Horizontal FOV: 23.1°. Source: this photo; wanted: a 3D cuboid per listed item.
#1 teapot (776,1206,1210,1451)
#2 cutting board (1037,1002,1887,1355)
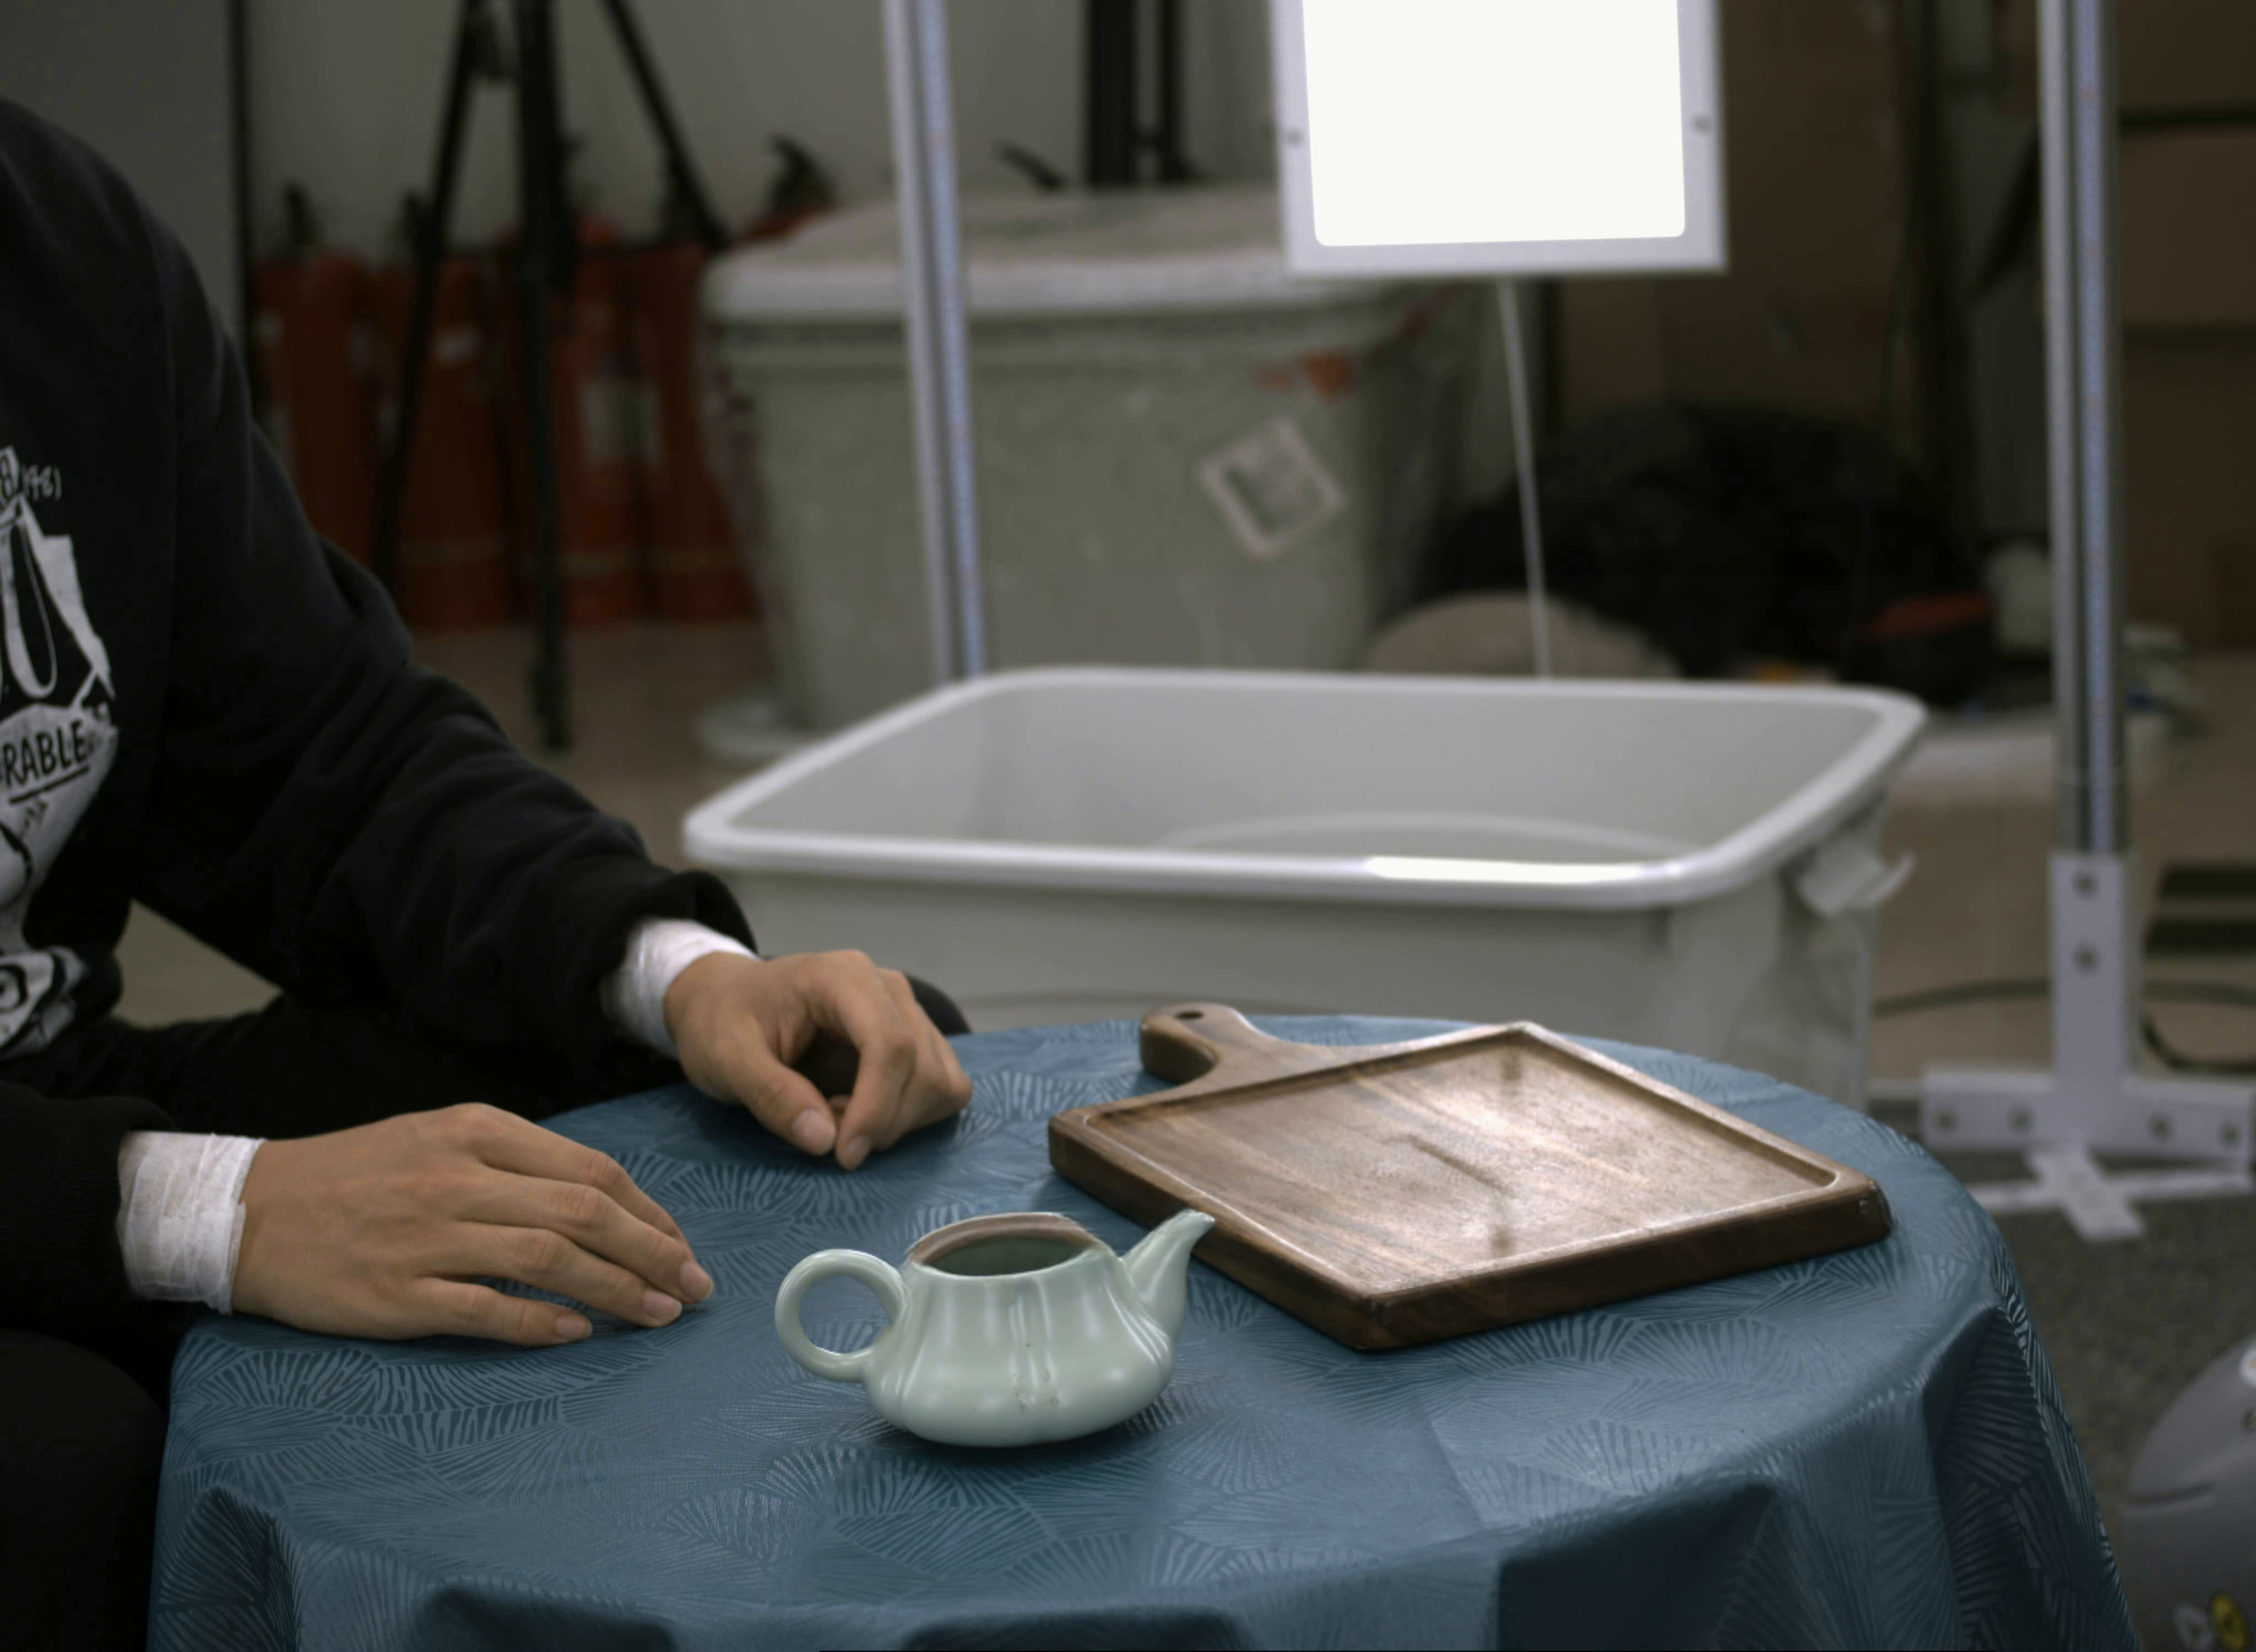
[{"bbox_3d":[-0.039,0.153,1.679,0.135,0.061,0.097,-7,15,-9],"label":"teapot"},{"bbox_3d":[0.087,0.108,1.897,0.197,0.023,0.357,-11,15,-23],"label":"cutting board"}]
